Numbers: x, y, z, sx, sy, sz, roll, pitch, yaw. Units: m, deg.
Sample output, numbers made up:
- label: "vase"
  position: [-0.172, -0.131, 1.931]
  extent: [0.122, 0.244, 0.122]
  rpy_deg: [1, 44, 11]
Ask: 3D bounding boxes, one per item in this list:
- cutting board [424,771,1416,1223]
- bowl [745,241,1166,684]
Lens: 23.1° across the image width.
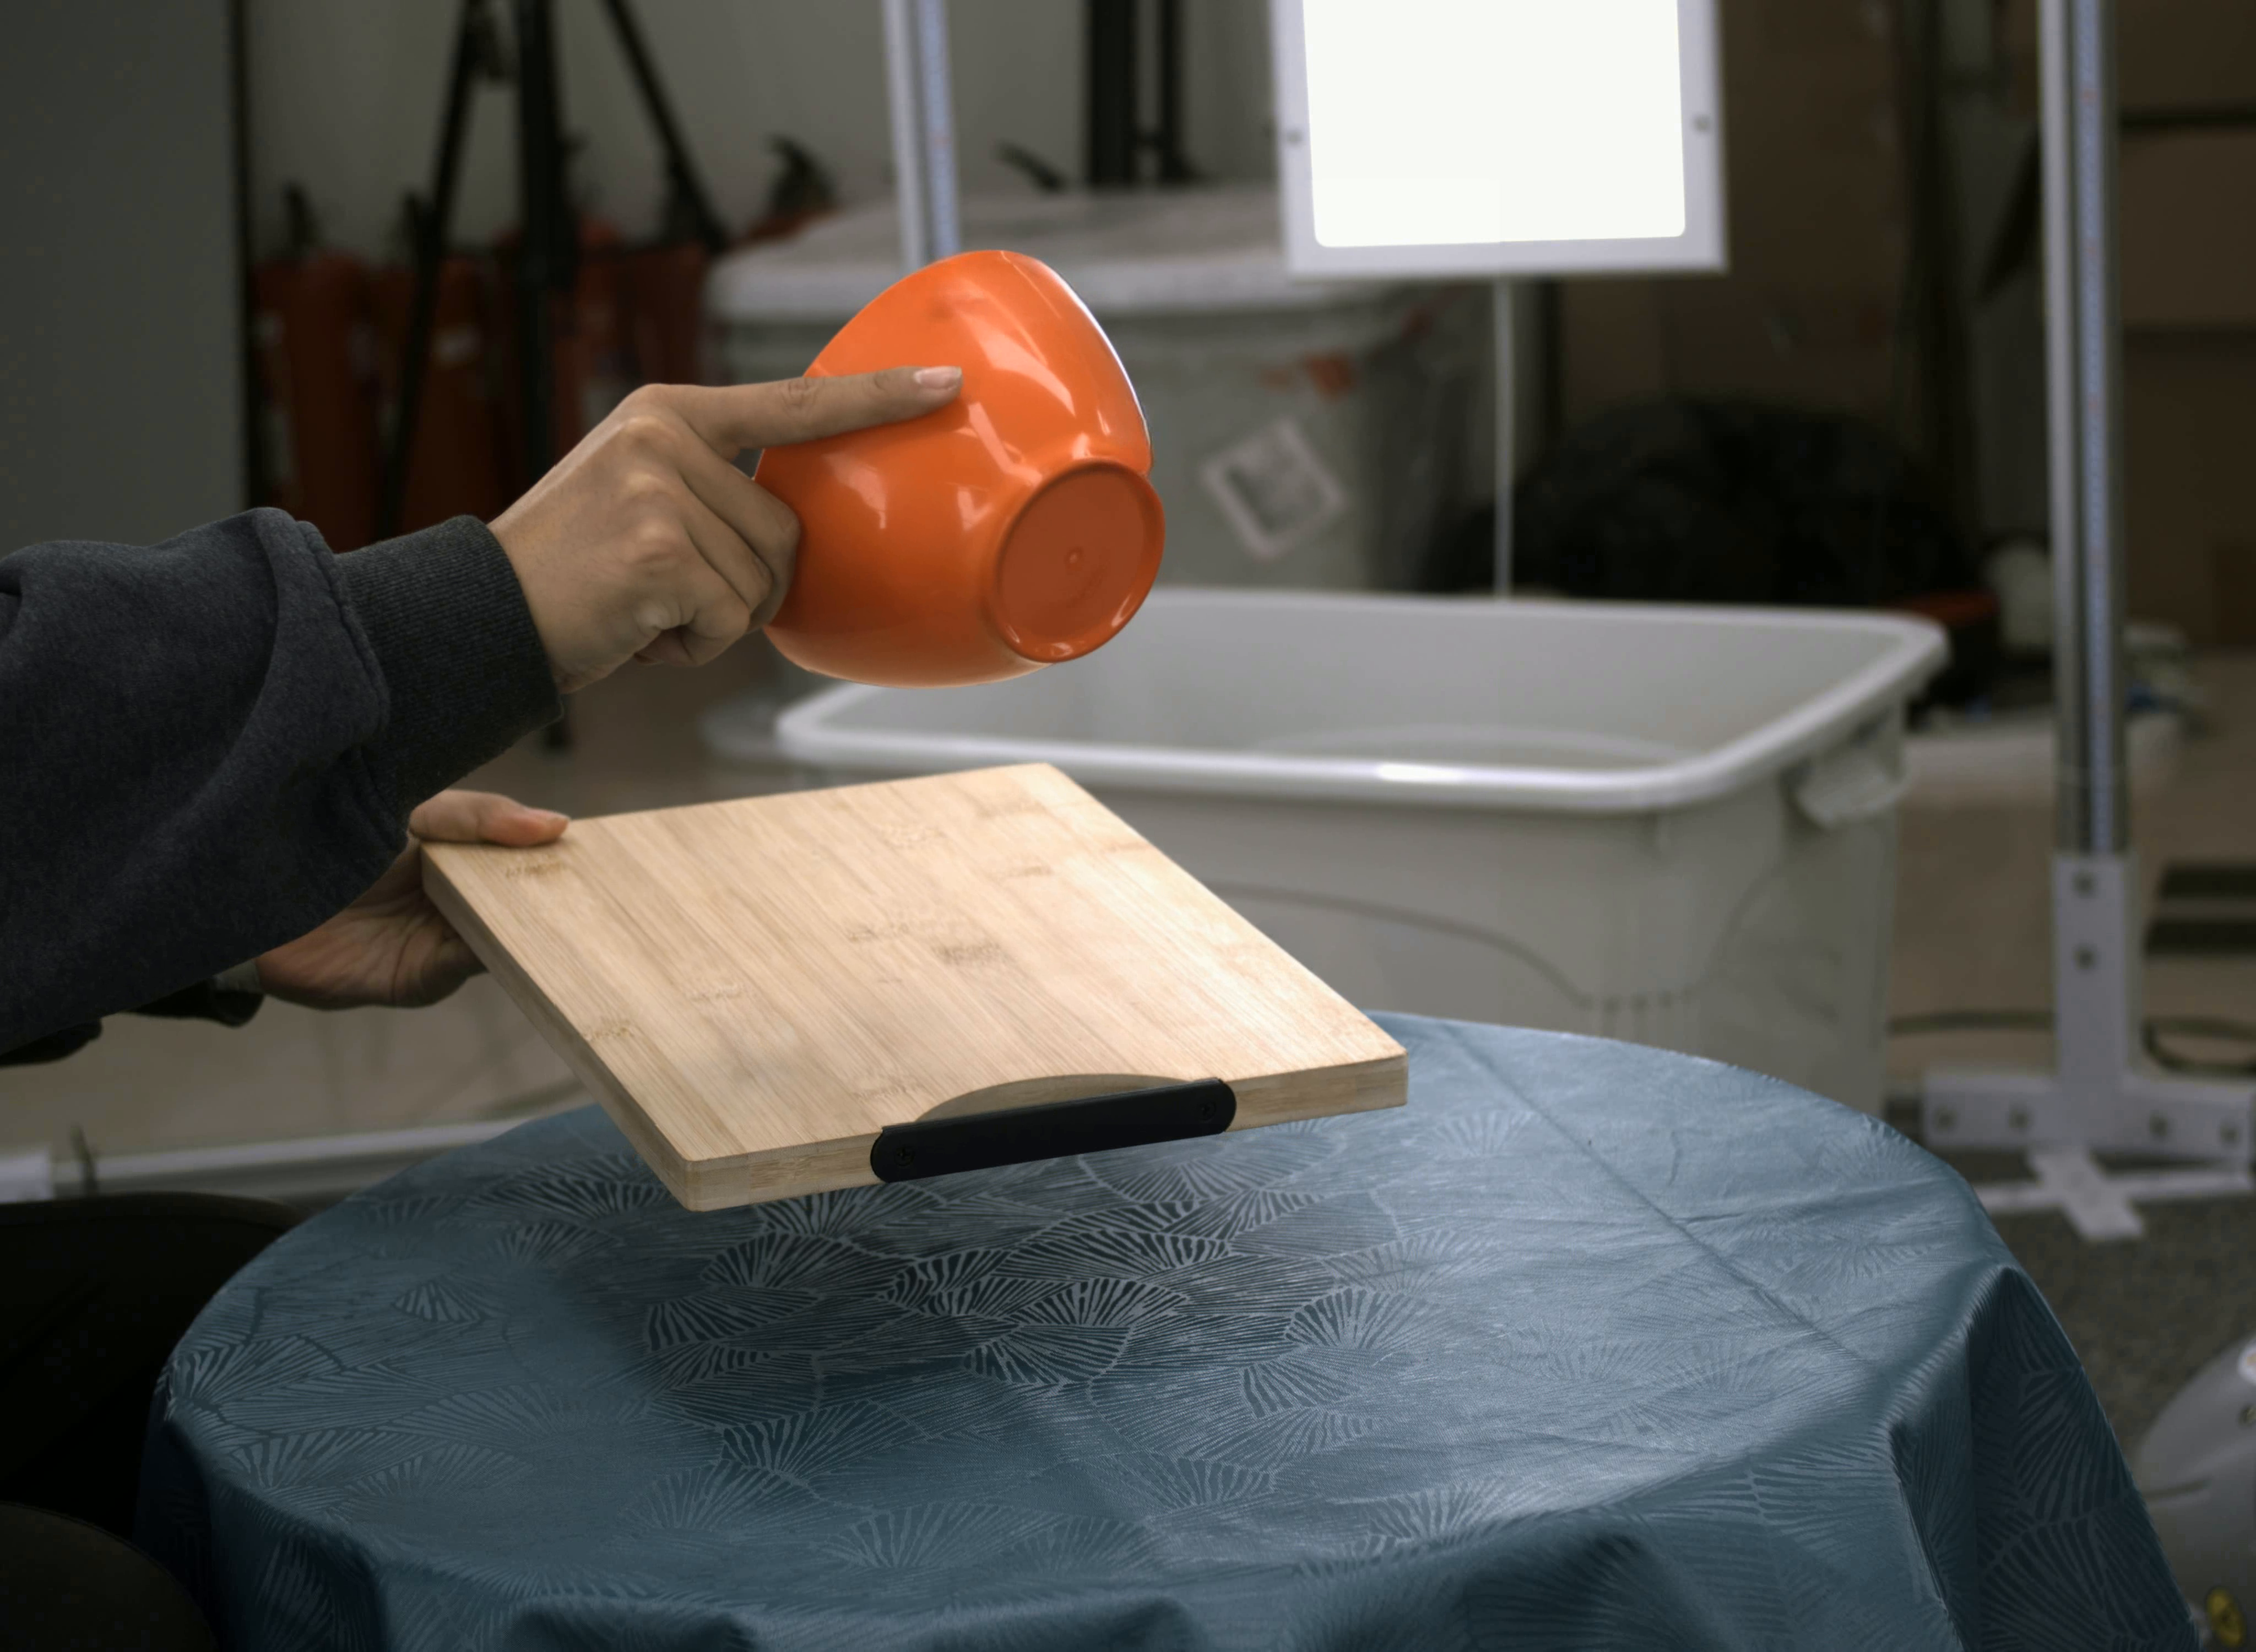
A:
- label: "cutting board"
  position: [-0.080, 0.050, 1.846]
  extent: [0.246, 0.024, 0.353]
  rpy_deg: [-9, 19, -19]
- label: "bowl"
  position: [-0.038, -0.098, 1.687]
  extent: [0.144, 0.149, 0.106]
  rpy_deg: [-13, 33, -34]
